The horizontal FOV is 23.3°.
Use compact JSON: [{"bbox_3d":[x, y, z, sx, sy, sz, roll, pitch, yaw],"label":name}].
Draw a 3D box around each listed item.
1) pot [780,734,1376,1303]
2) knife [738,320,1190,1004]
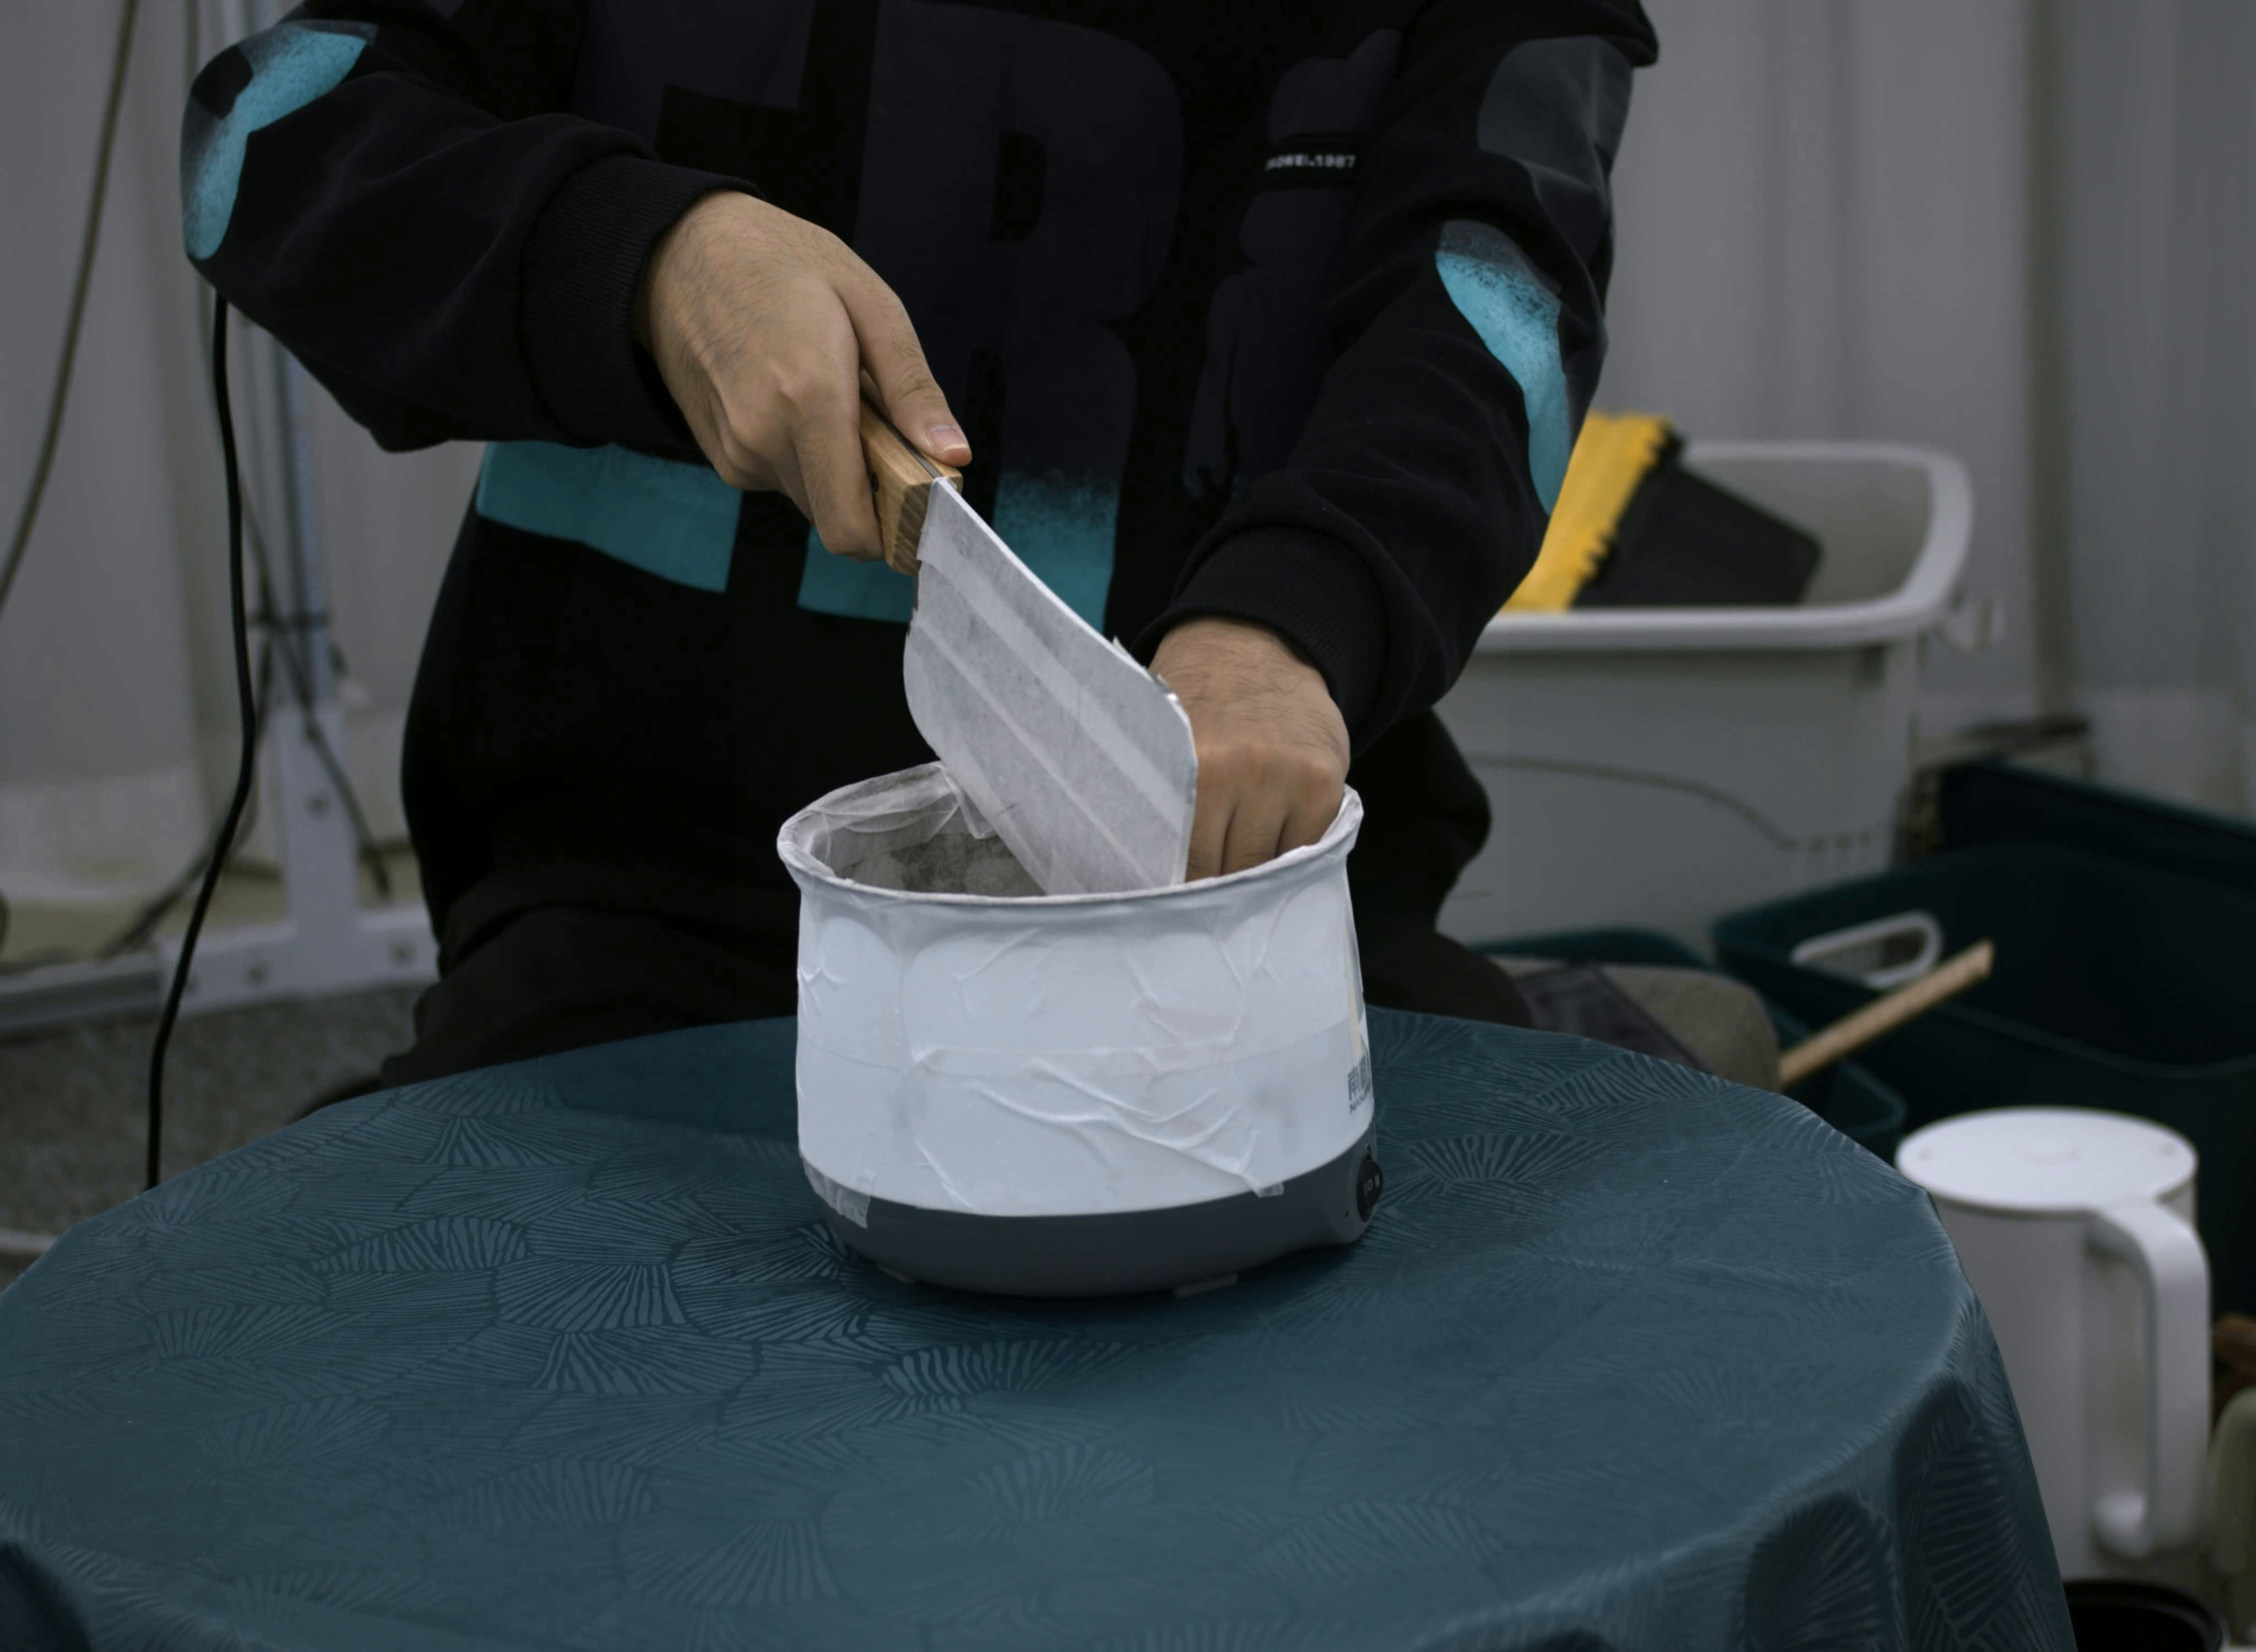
[{"bbox_3d":[-0.007,0.052,1.689,0.178,0.136,0.235,1,16,14],"label":"pot"},{"bbox_3d":[-0.051,-0.067,1.685,0.021,0.113,0.320,-7,38,-26],"label":"knife"}]
